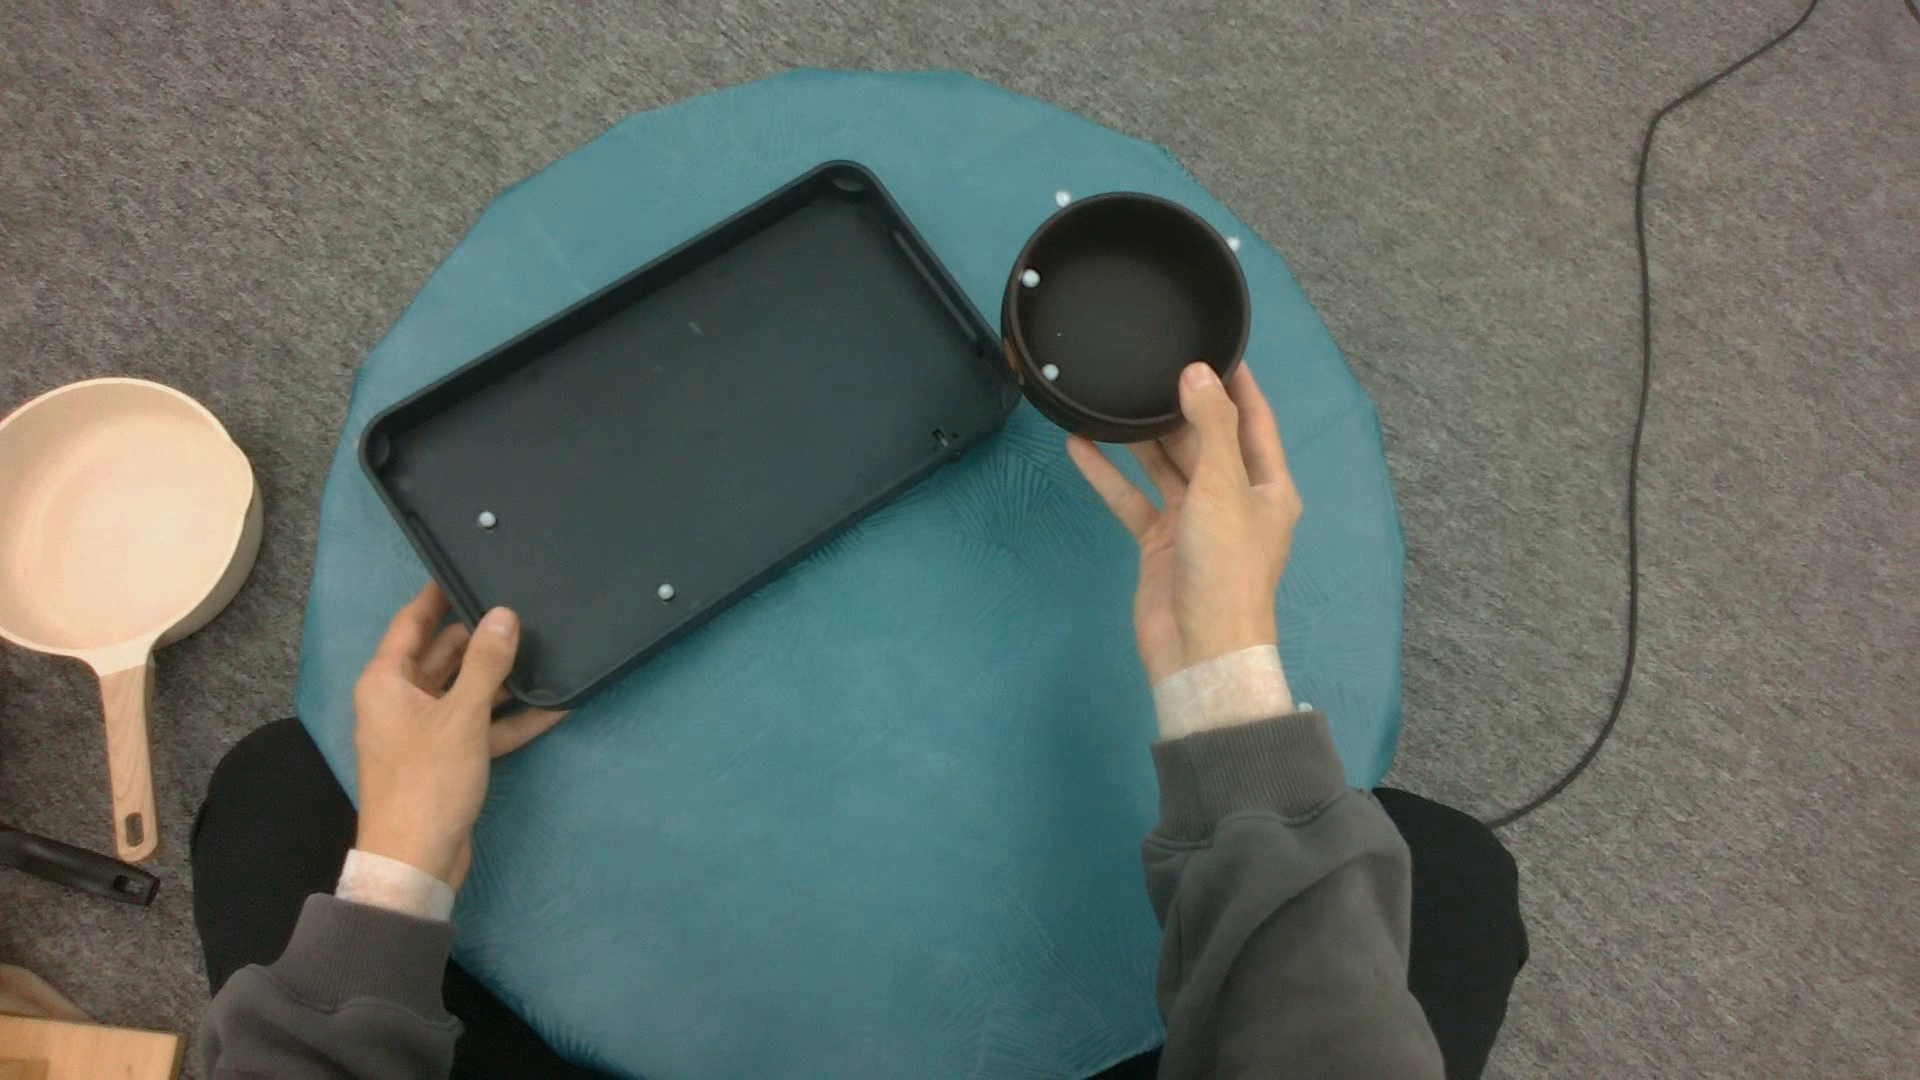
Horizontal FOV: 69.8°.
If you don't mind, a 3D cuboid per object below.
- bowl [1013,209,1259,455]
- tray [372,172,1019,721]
[{"bbox_3d":[0.083,-0.098,0.687,0.118,0.070,0.118,1,80,-5],"label":"bowl"},{"bbox_3d":[-0.139,-0.058,0.763,0.319,0.037,0.184,-36,81,-15],"label":"tray"}]
